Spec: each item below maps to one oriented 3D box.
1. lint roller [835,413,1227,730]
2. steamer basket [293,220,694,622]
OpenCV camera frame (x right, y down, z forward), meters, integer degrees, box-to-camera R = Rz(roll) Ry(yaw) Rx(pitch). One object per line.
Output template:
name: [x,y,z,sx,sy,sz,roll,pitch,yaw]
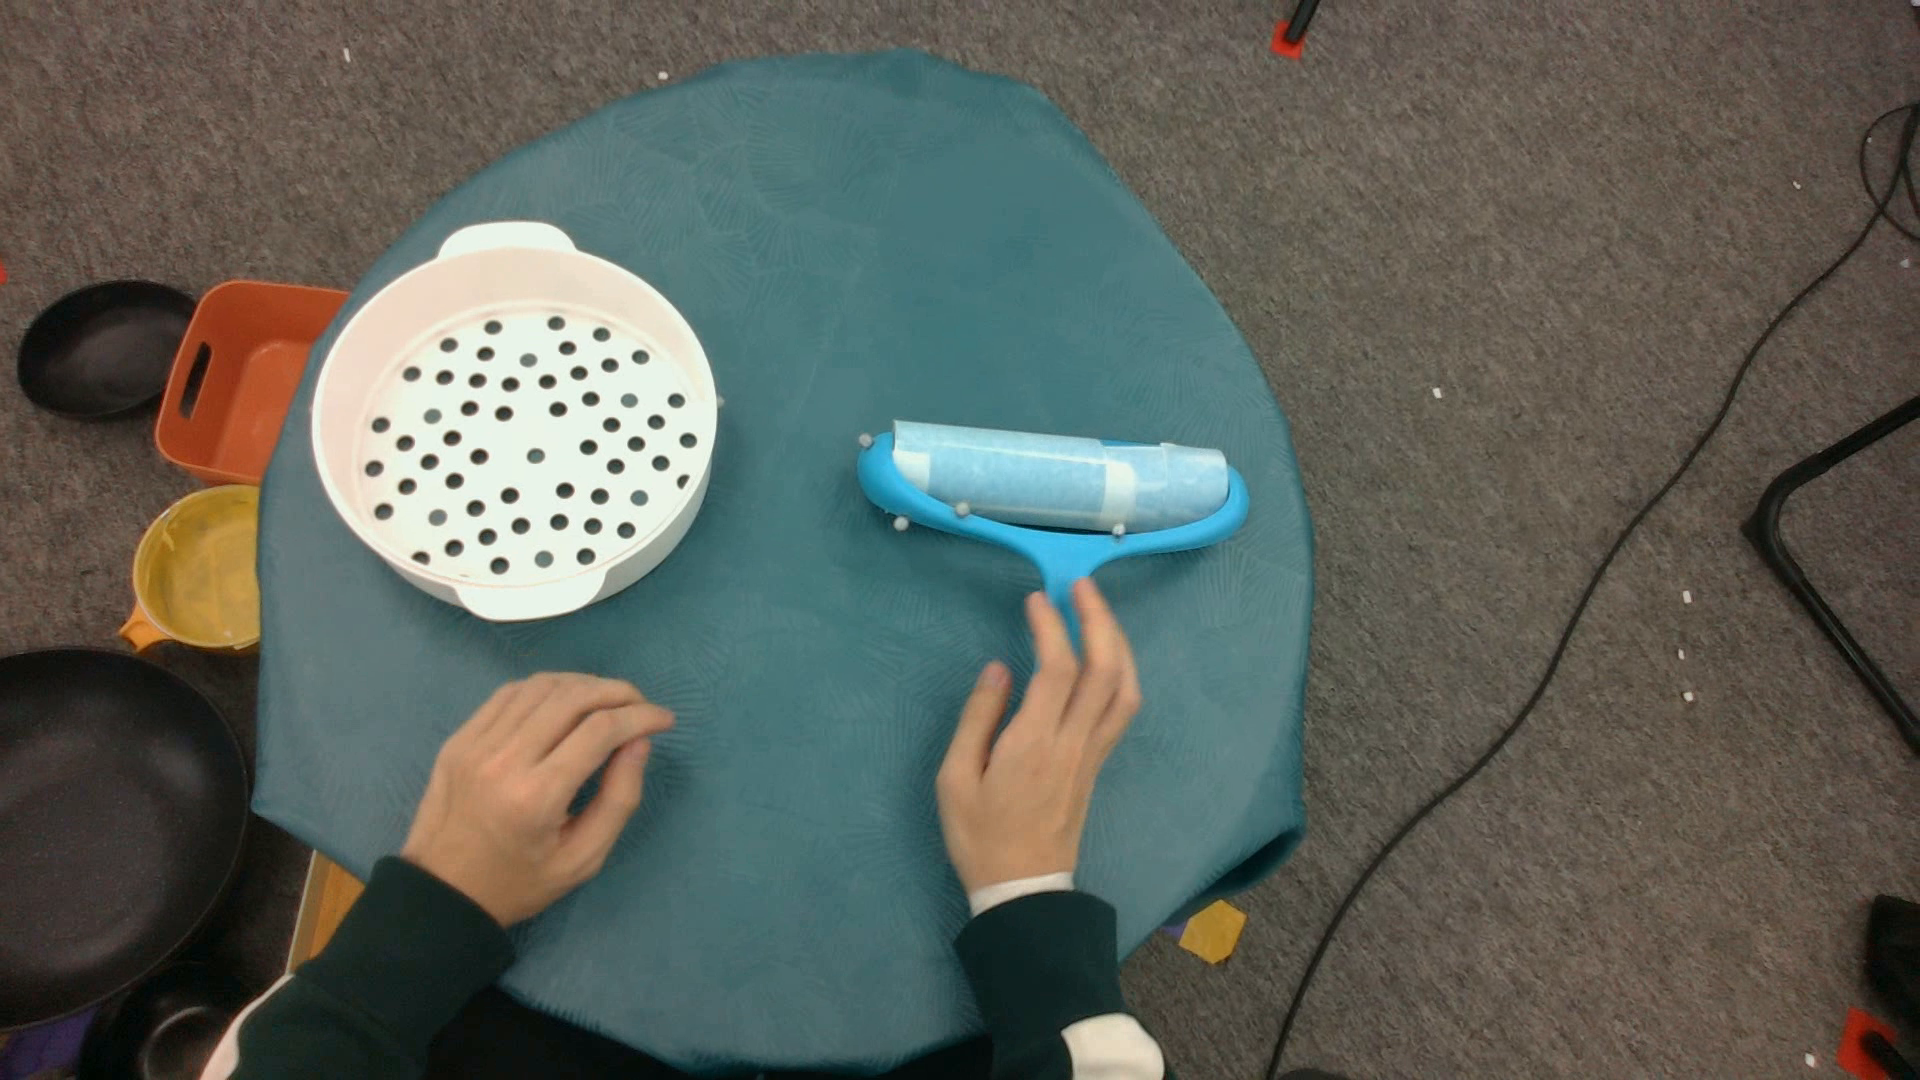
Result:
lint roller: [0.047,0.011,0.775,0.229,0.067,0.181,0,68,-12]
steamer basket: [-0.245,-0.059,0.747,0.202,0.069,0.231,-8,71,-12]
